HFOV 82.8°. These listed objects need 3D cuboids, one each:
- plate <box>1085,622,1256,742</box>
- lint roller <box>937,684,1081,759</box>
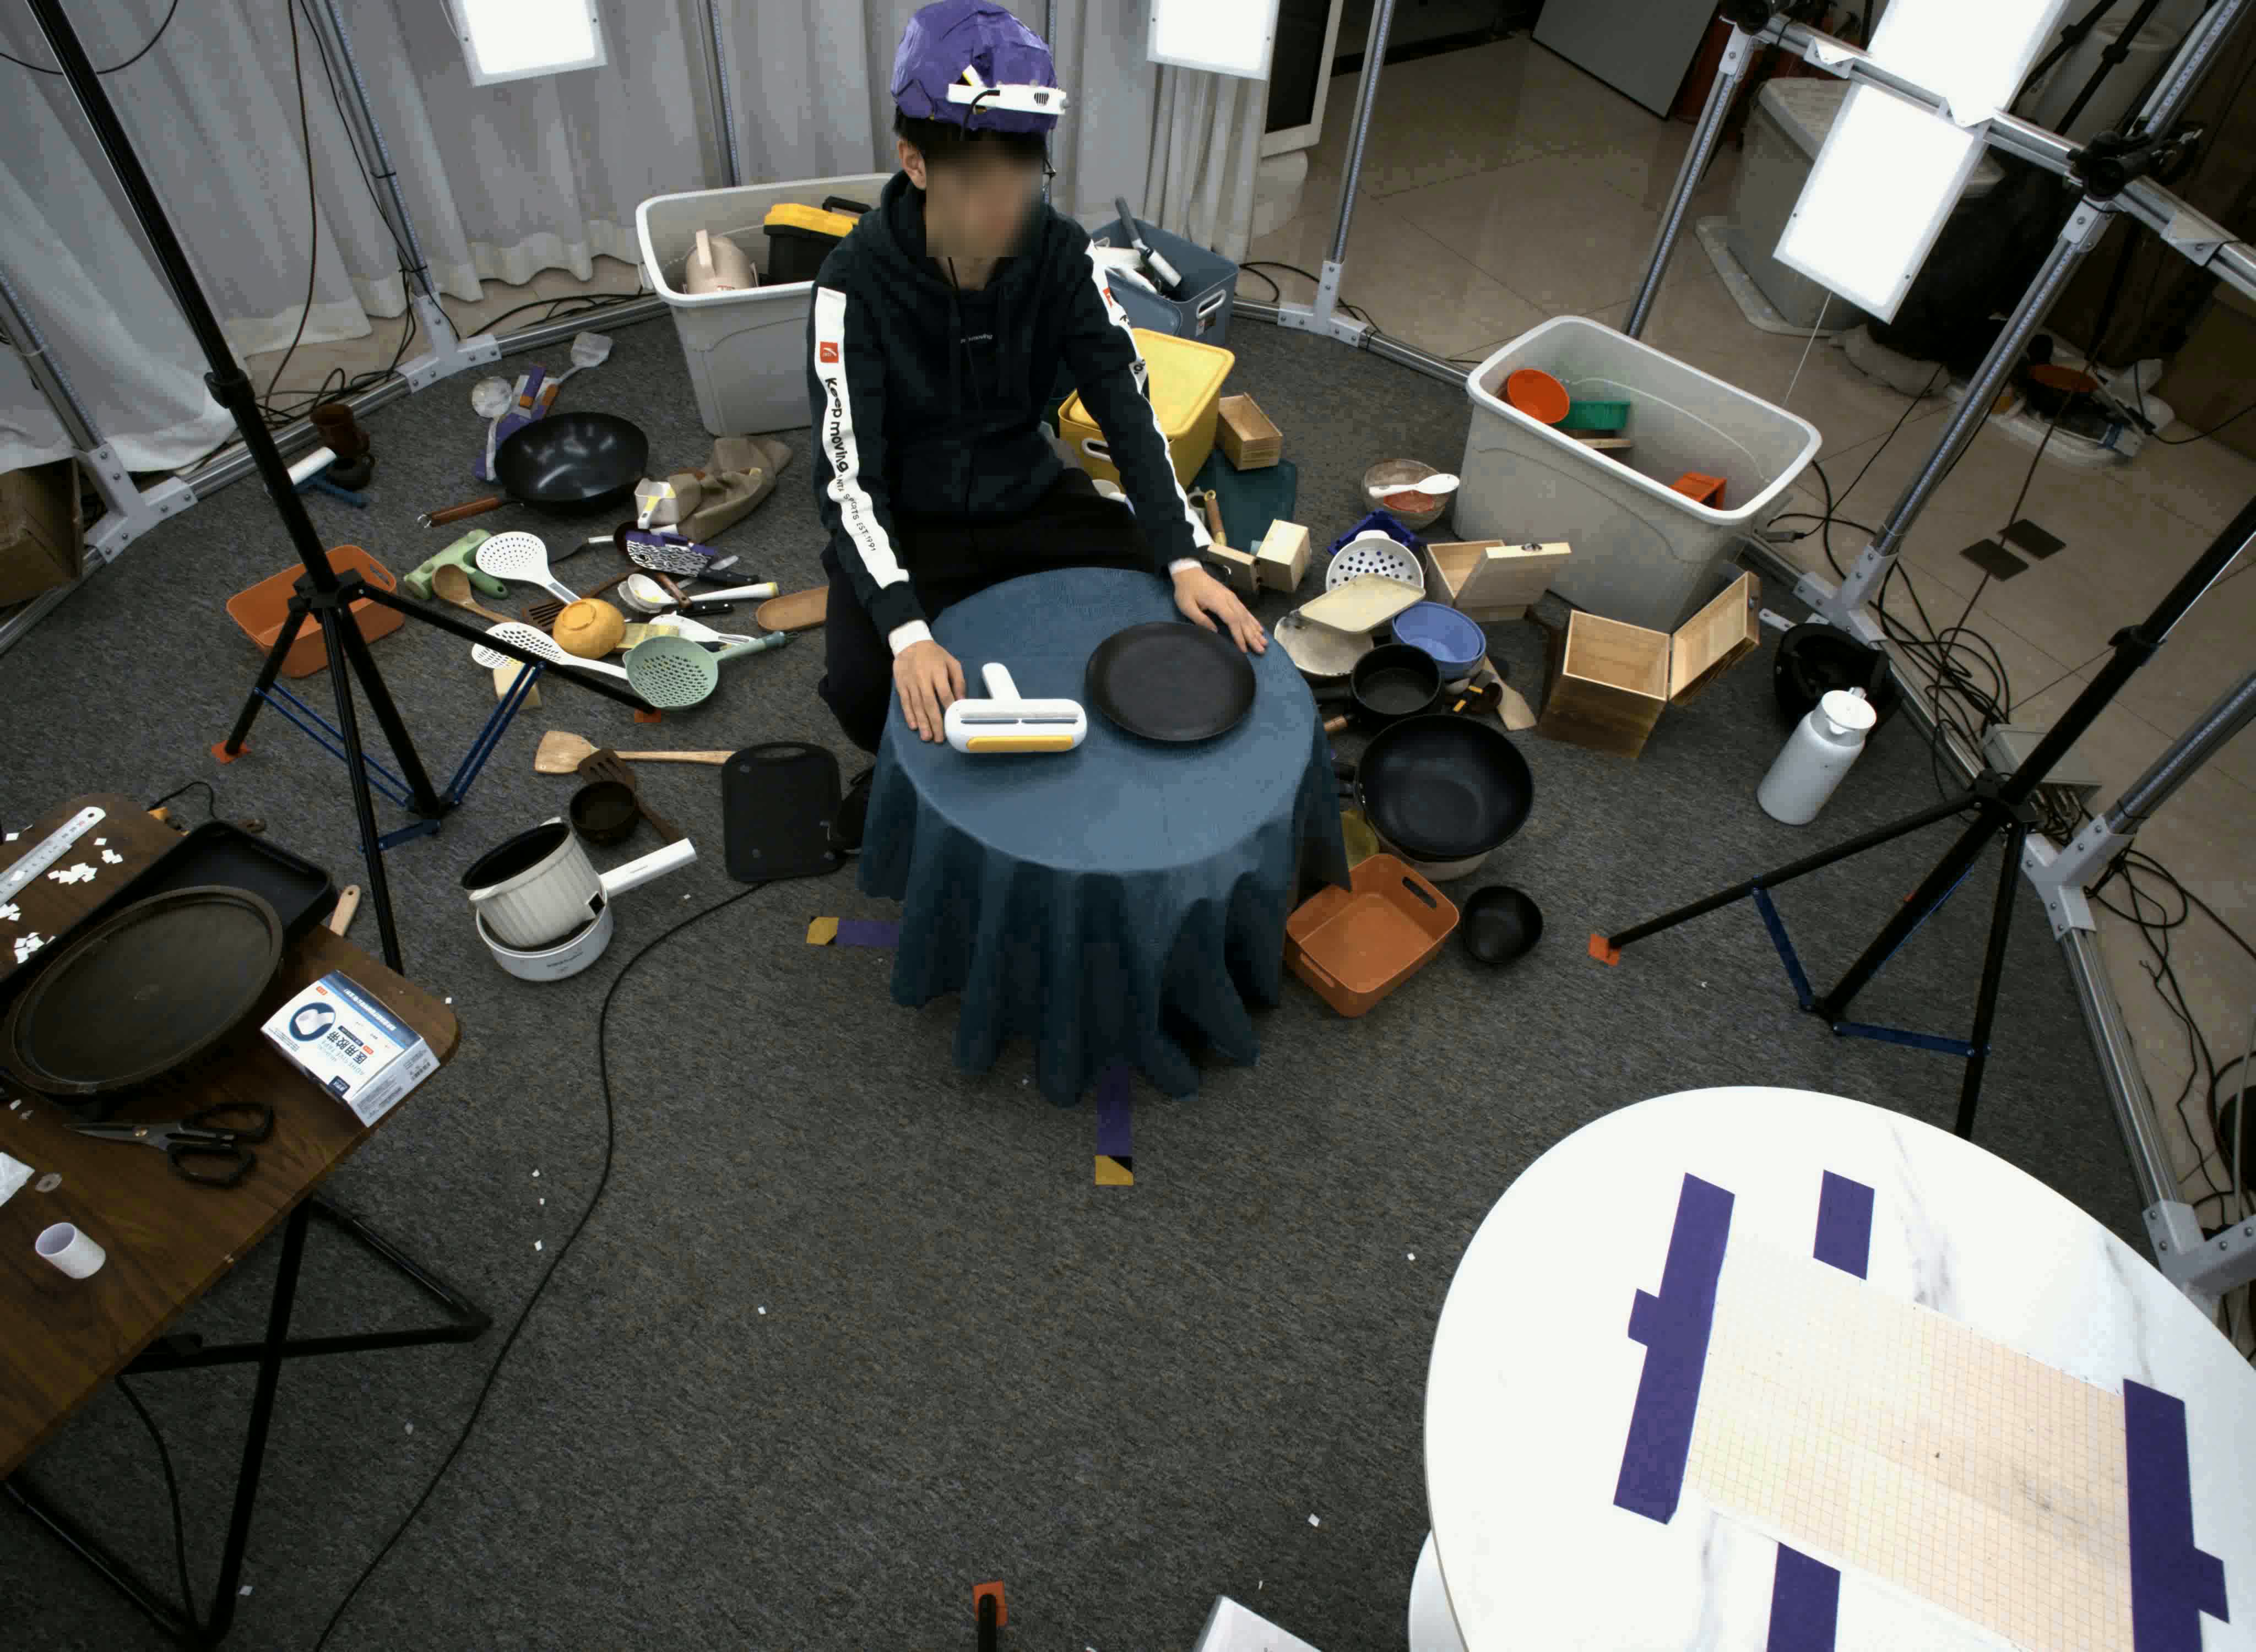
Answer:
[{"bbox_3d":[0.061,-0.203,1.833,0.244,0.023,0.250,2,49,-2],"label":"plate"},{"bbox_3d":[-0.170,-0.158,1.774,0.192,0.072,0.197,0,35,-12],"label":"lint roller"}]
